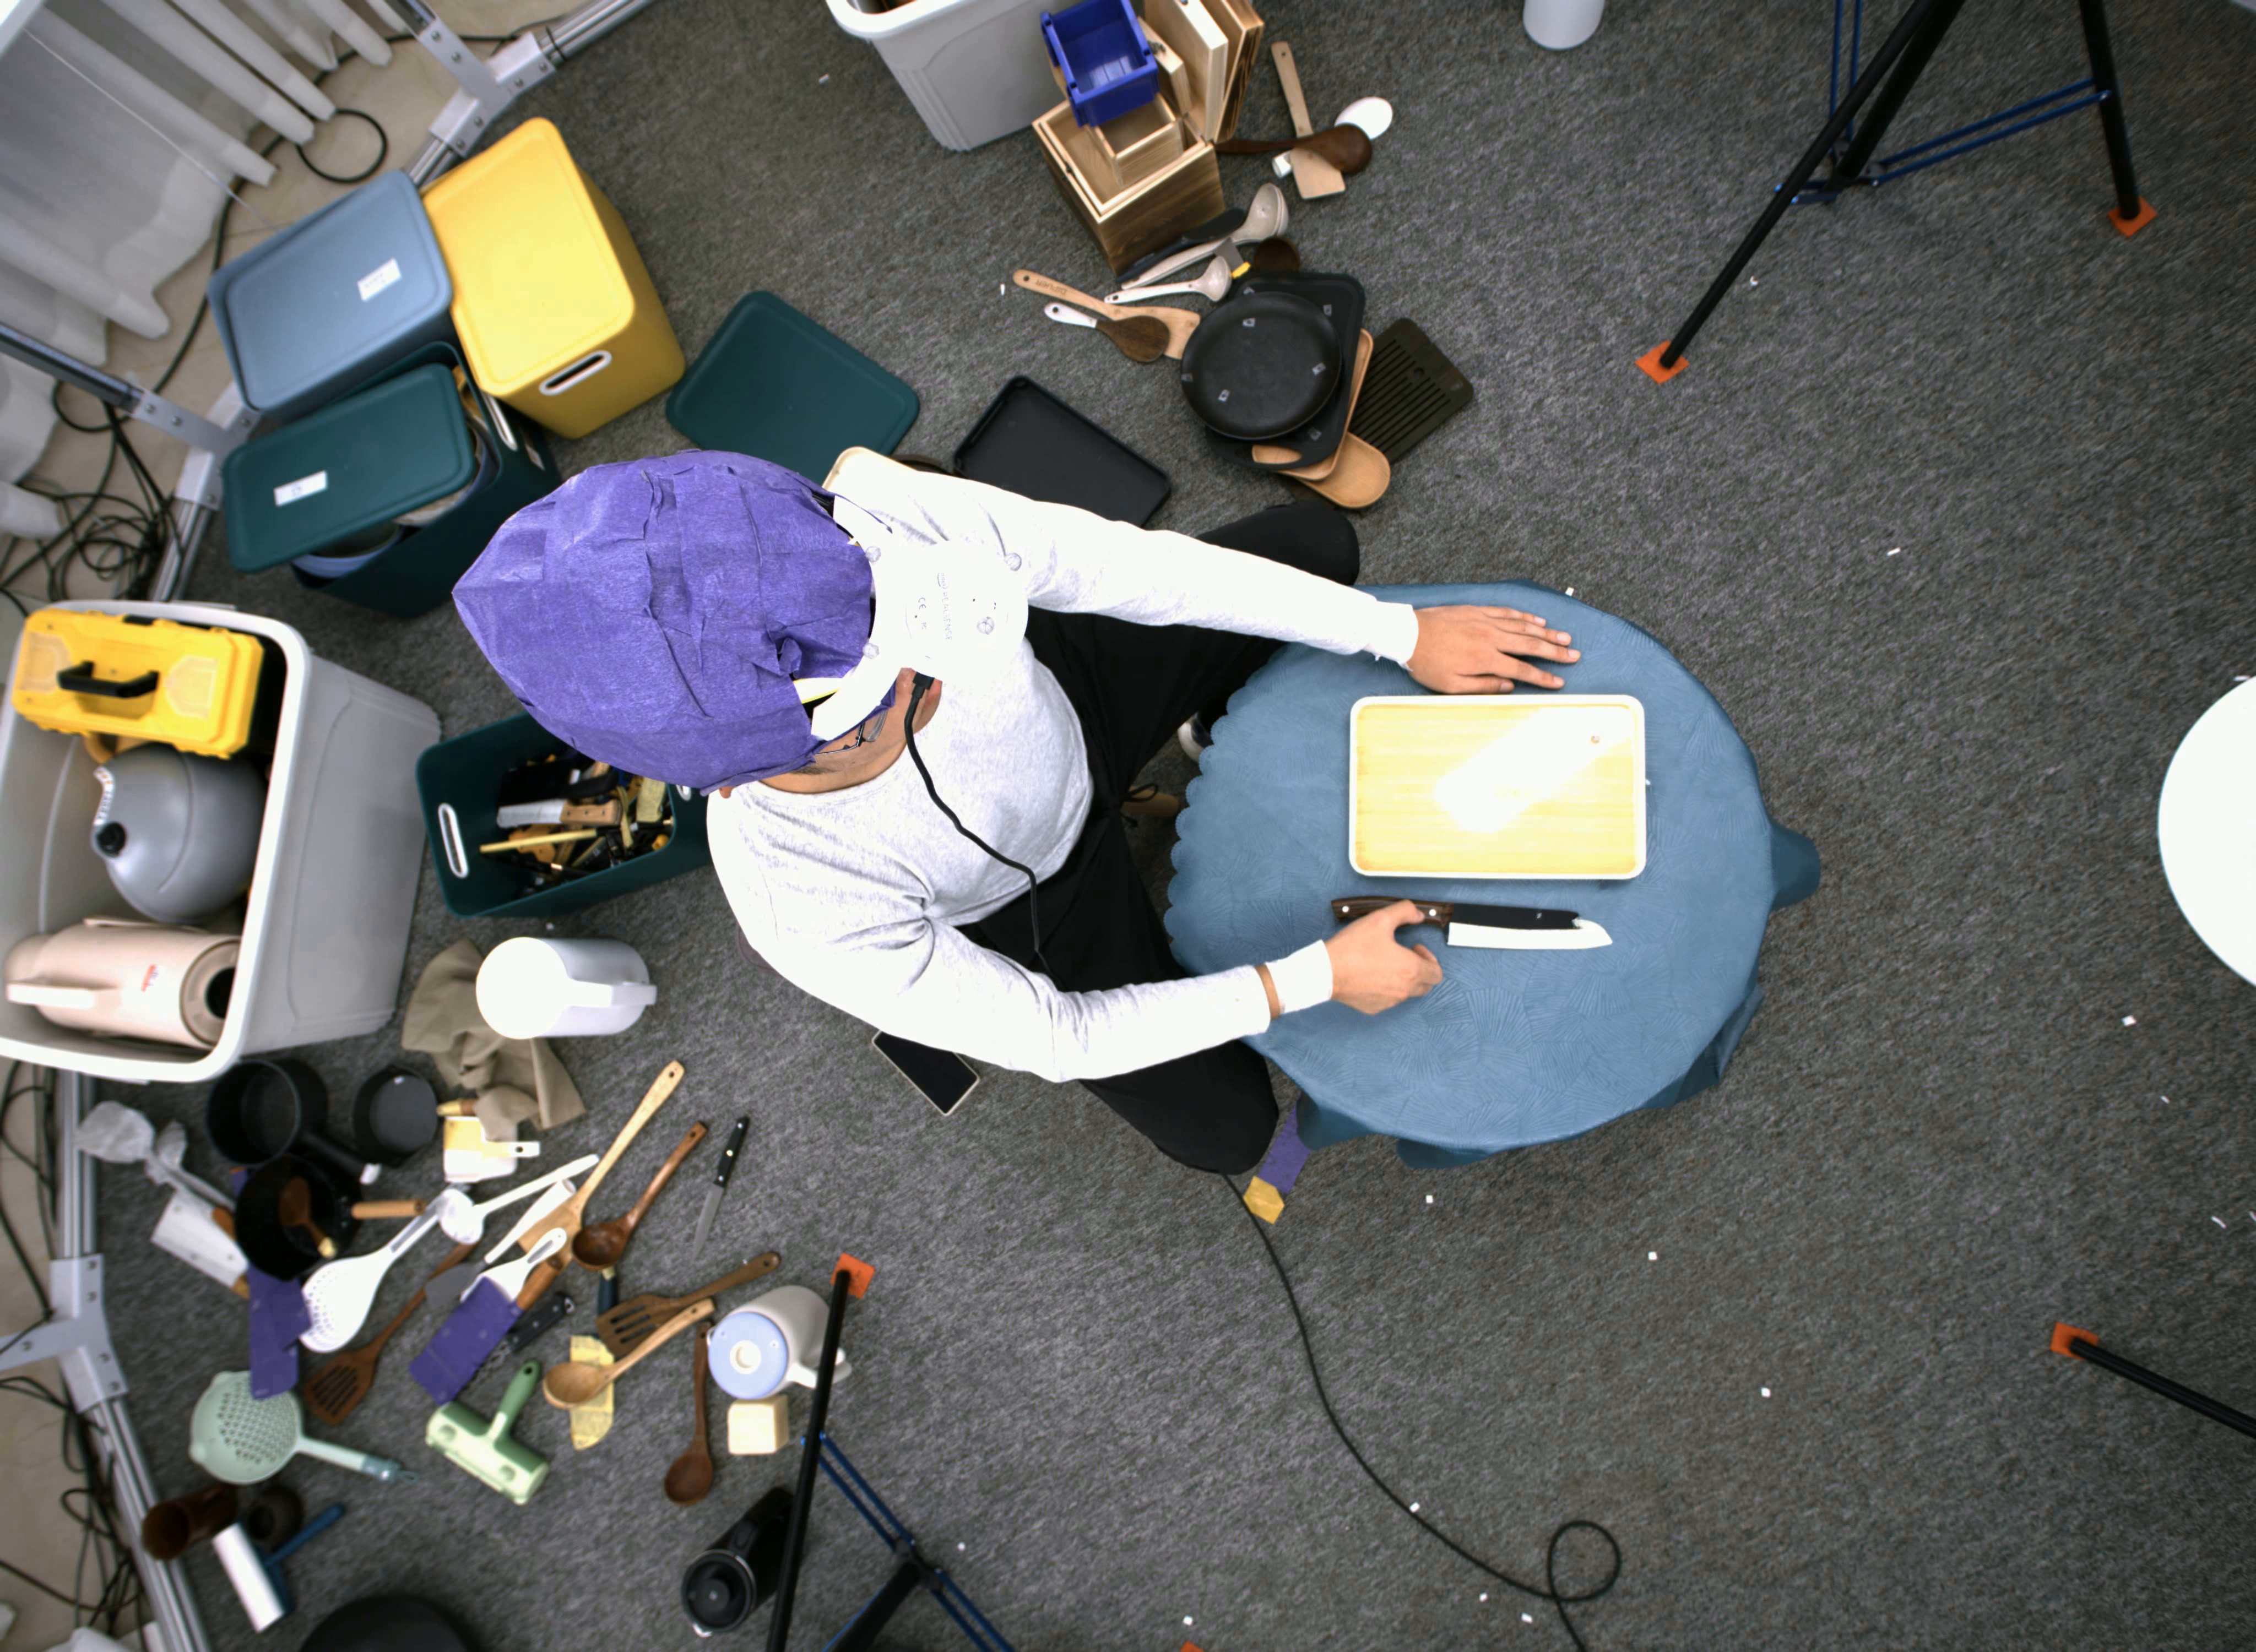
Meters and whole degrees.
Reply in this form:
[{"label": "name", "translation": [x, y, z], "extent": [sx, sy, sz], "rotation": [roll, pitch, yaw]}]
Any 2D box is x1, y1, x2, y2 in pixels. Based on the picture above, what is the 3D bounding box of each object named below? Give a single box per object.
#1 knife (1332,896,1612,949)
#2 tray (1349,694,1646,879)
[{"label": "knife", "translation": [0.357, 0.098, 1.435], "extent": [0.290, 0.020, 0.050], "rotation": [5, 92, 9]}, {"label": "tray", "translation": [0.382, -0.043, 1.432], "extent": [0.301, 0.027, 0.191], "rotation": [1, 87, 11]}]
